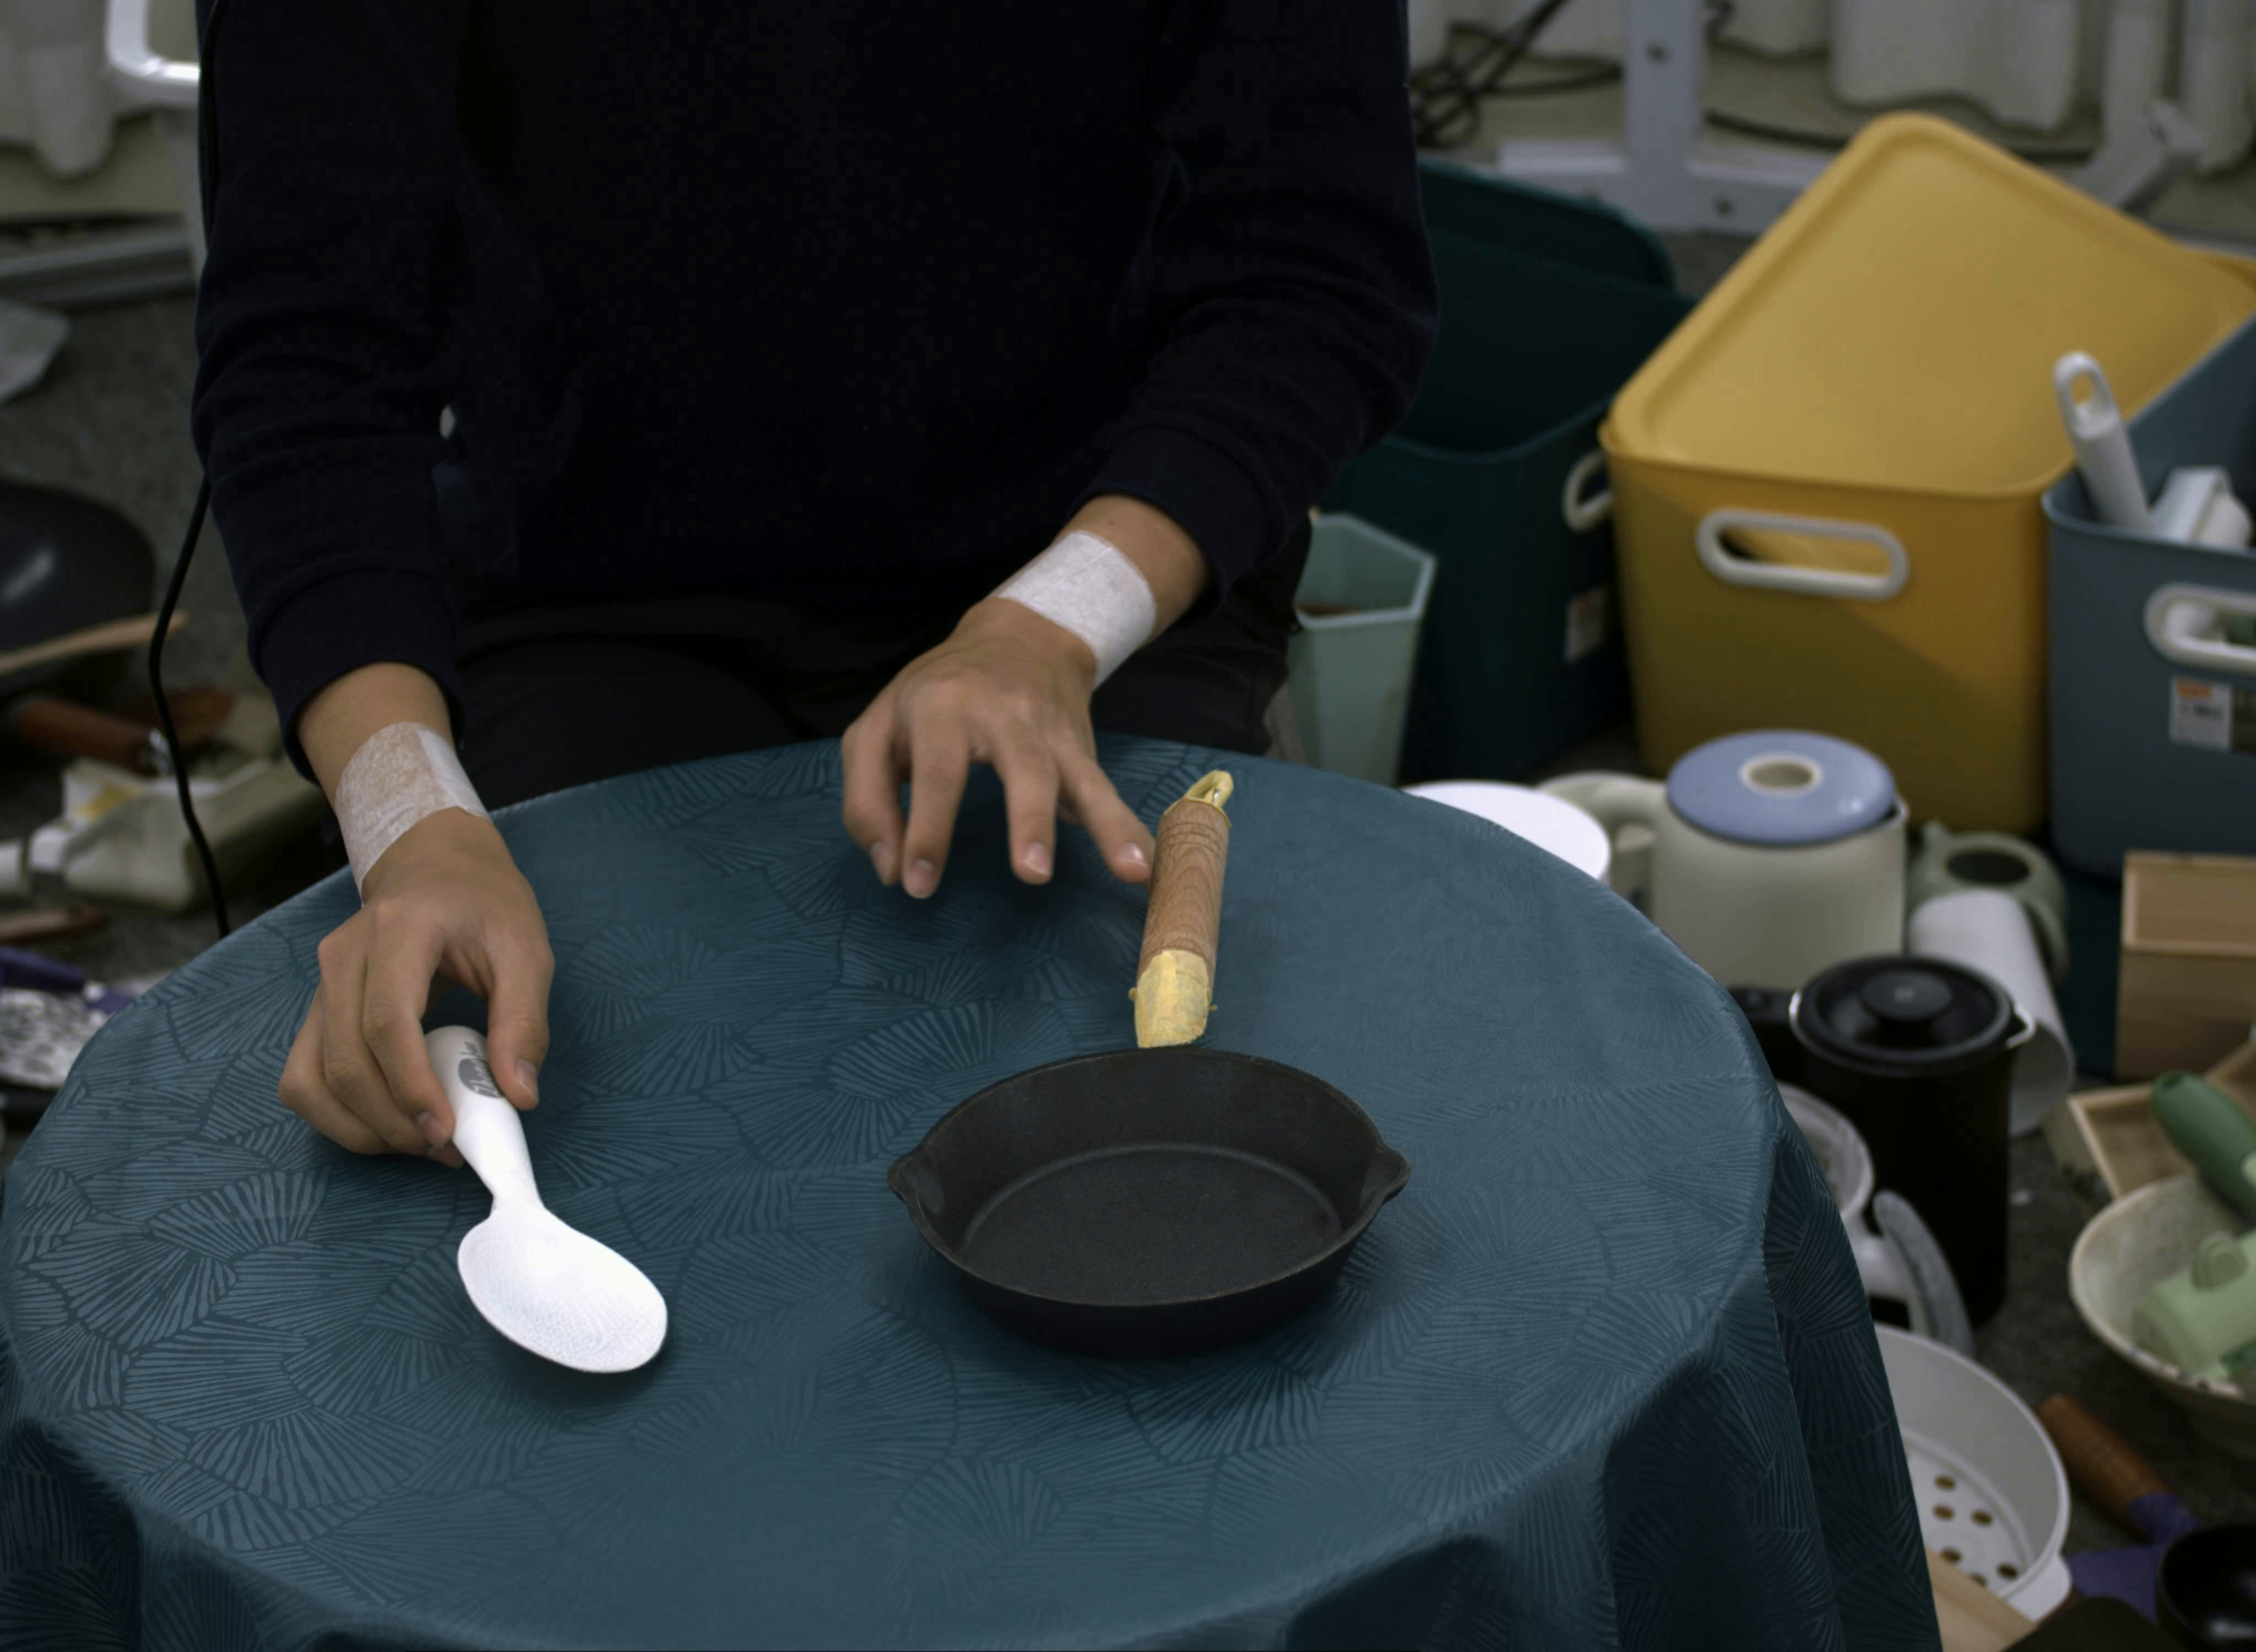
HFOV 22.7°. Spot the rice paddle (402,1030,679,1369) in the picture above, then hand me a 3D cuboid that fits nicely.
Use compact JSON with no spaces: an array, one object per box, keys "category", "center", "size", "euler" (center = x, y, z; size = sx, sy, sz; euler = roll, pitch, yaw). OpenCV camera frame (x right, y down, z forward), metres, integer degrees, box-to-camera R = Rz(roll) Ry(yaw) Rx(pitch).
[{"category":"rice paddle","center":[-0.198,0.125,1.842],"size":[0.069,0.029,0.207],"euler":[8,21,-25]}]

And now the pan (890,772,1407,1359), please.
[{"category":"pan","center":[0.016,0.078,1.891],"size":[0.168,0.049,0.330],"euler":[0,29,7]}]
